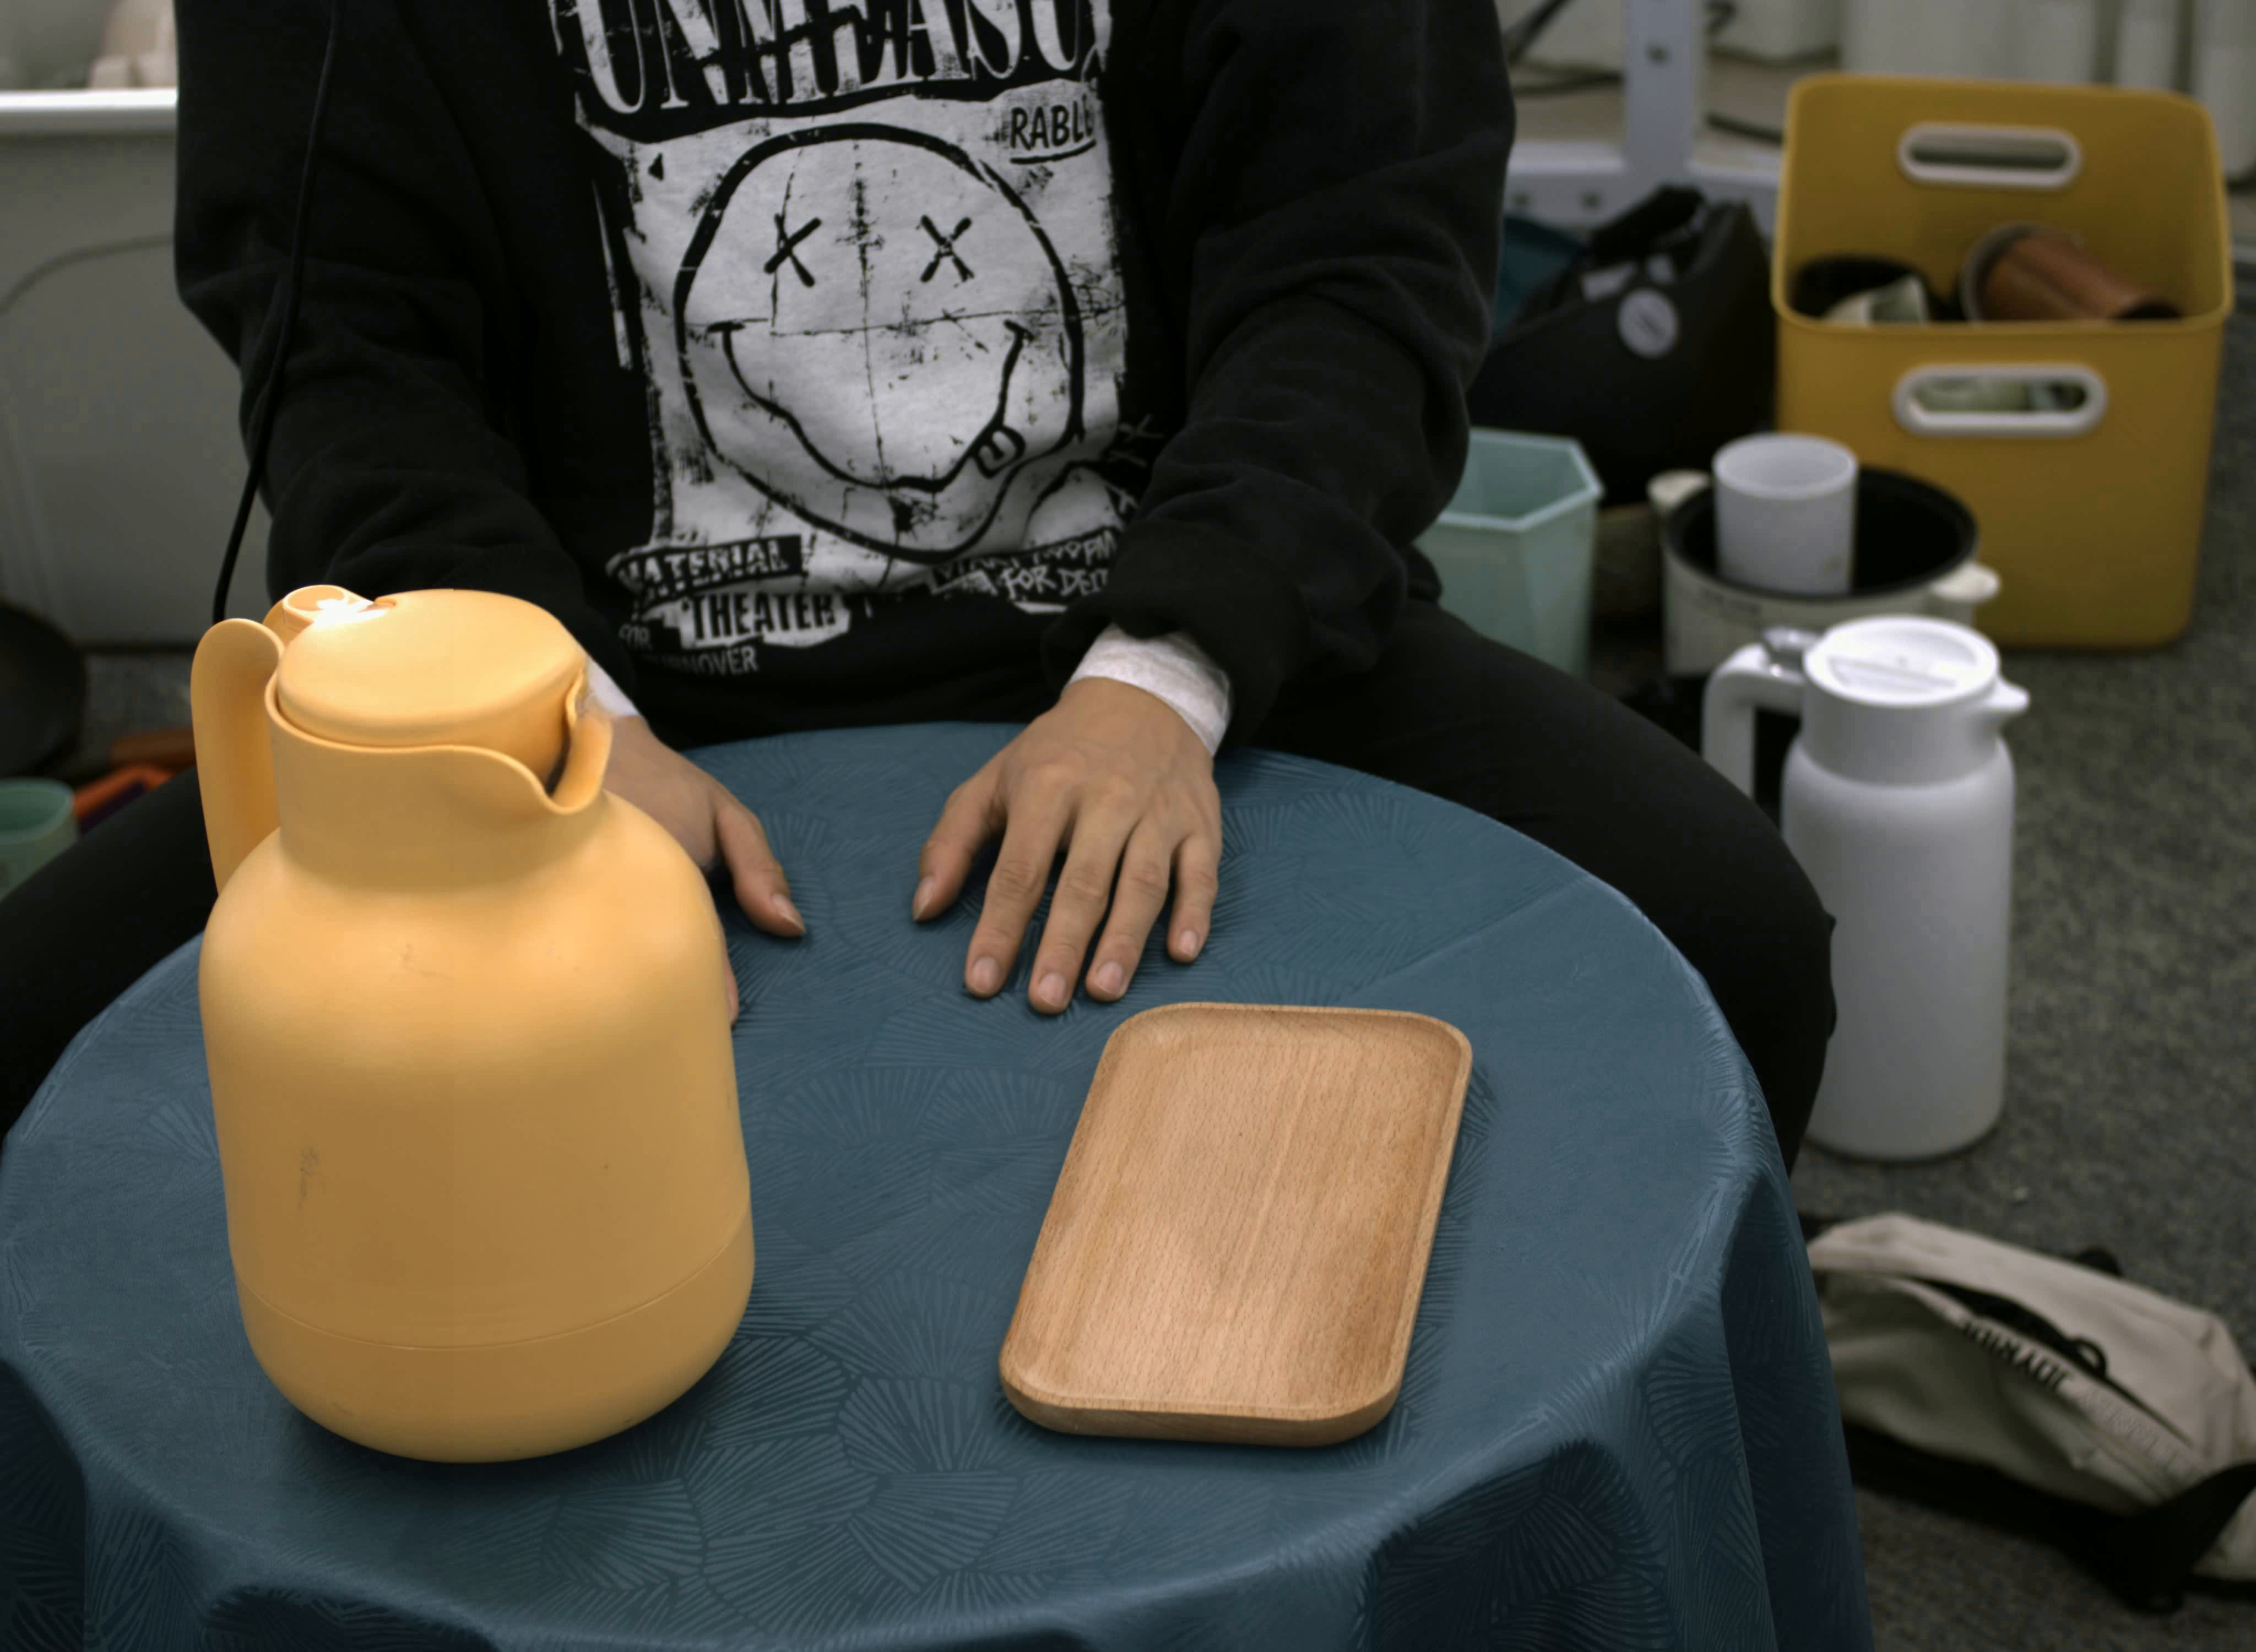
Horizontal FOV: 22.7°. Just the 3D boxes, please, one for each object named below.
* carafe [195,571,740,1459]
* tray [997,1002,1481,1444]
[{"bbox_3d":[-0.216,0.048,1.741,0.165,0.257,0.202,-20,32,-35],"label":"carafe"},{"bbox_3d":[0.039,0.126,1.828,0.130,0.022,0.255,5,27,10],"label":"tray"}]
